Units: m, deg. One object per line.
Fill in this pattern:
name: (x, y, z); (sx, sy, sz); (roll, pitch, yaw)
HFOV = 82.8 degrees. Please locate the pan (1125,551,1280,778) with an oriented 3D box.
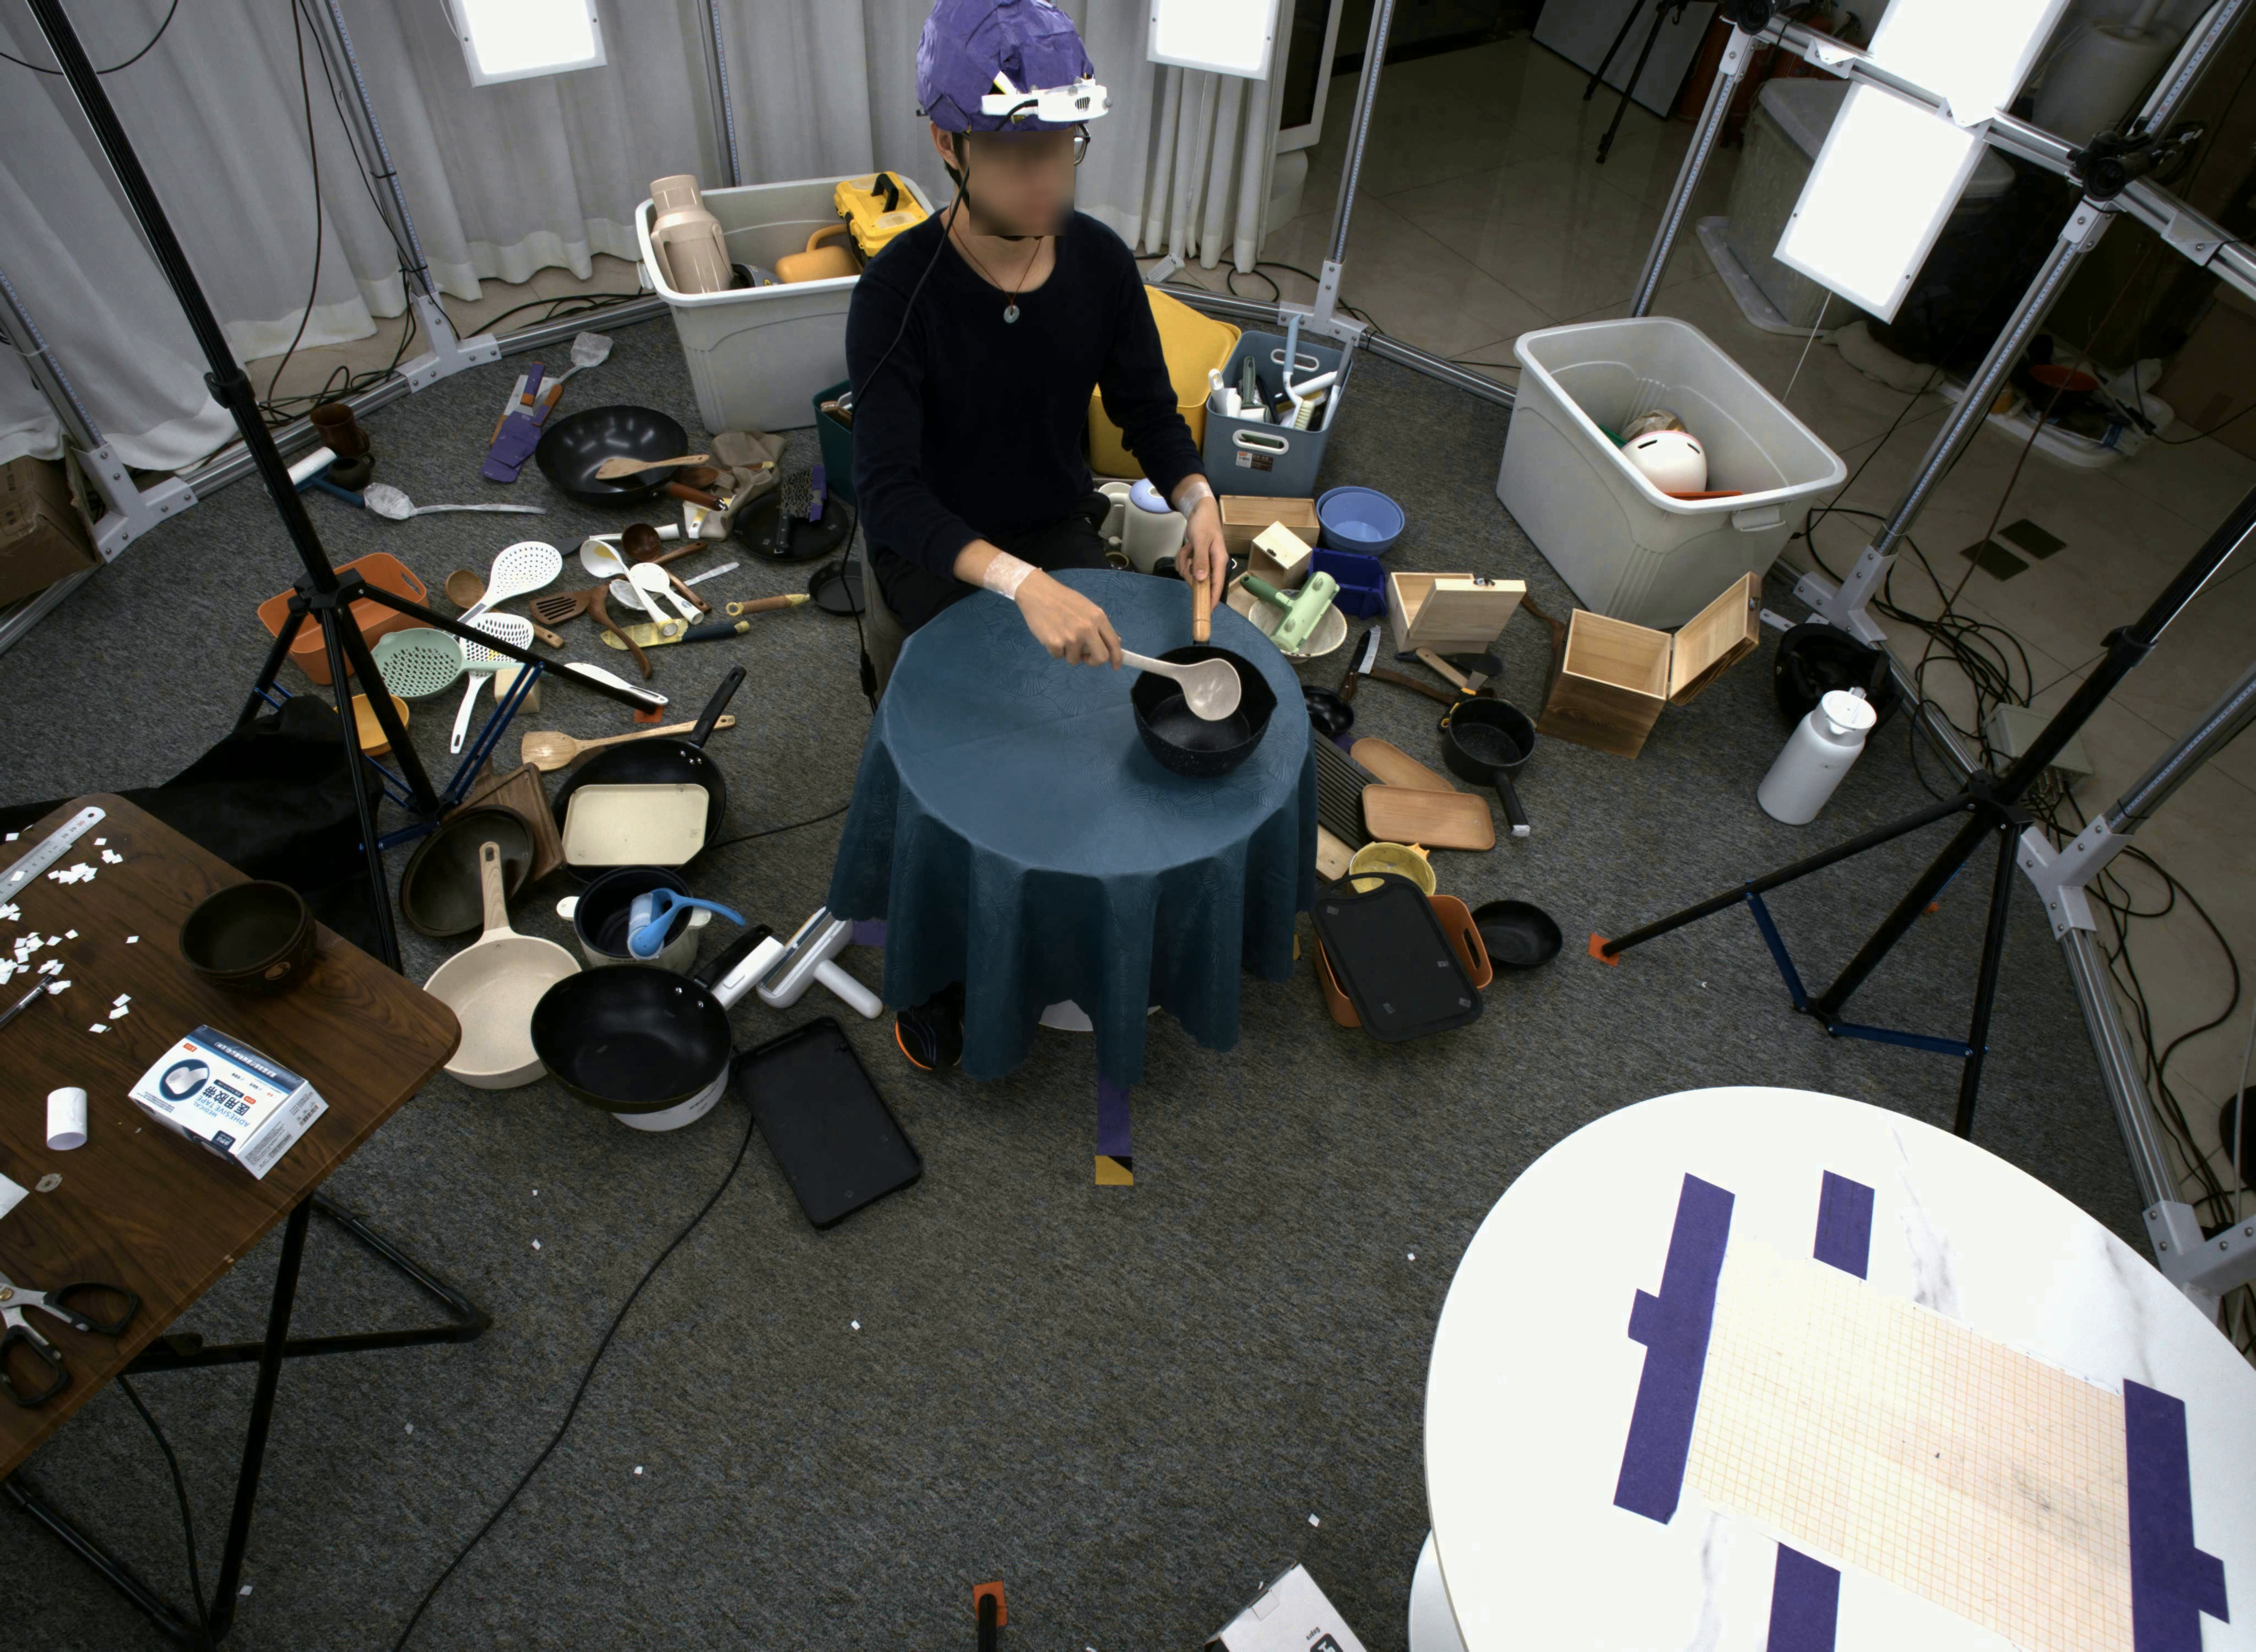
pan: (0.099, -0.223, 1.779); (0.207, 0.106, 0.351); (0, 56, -1)

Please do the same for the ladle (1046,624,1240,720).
ladle: (0.022, -0.202, 1.663); (0.272, 0.088, 0.071); (12, 42, -30)
